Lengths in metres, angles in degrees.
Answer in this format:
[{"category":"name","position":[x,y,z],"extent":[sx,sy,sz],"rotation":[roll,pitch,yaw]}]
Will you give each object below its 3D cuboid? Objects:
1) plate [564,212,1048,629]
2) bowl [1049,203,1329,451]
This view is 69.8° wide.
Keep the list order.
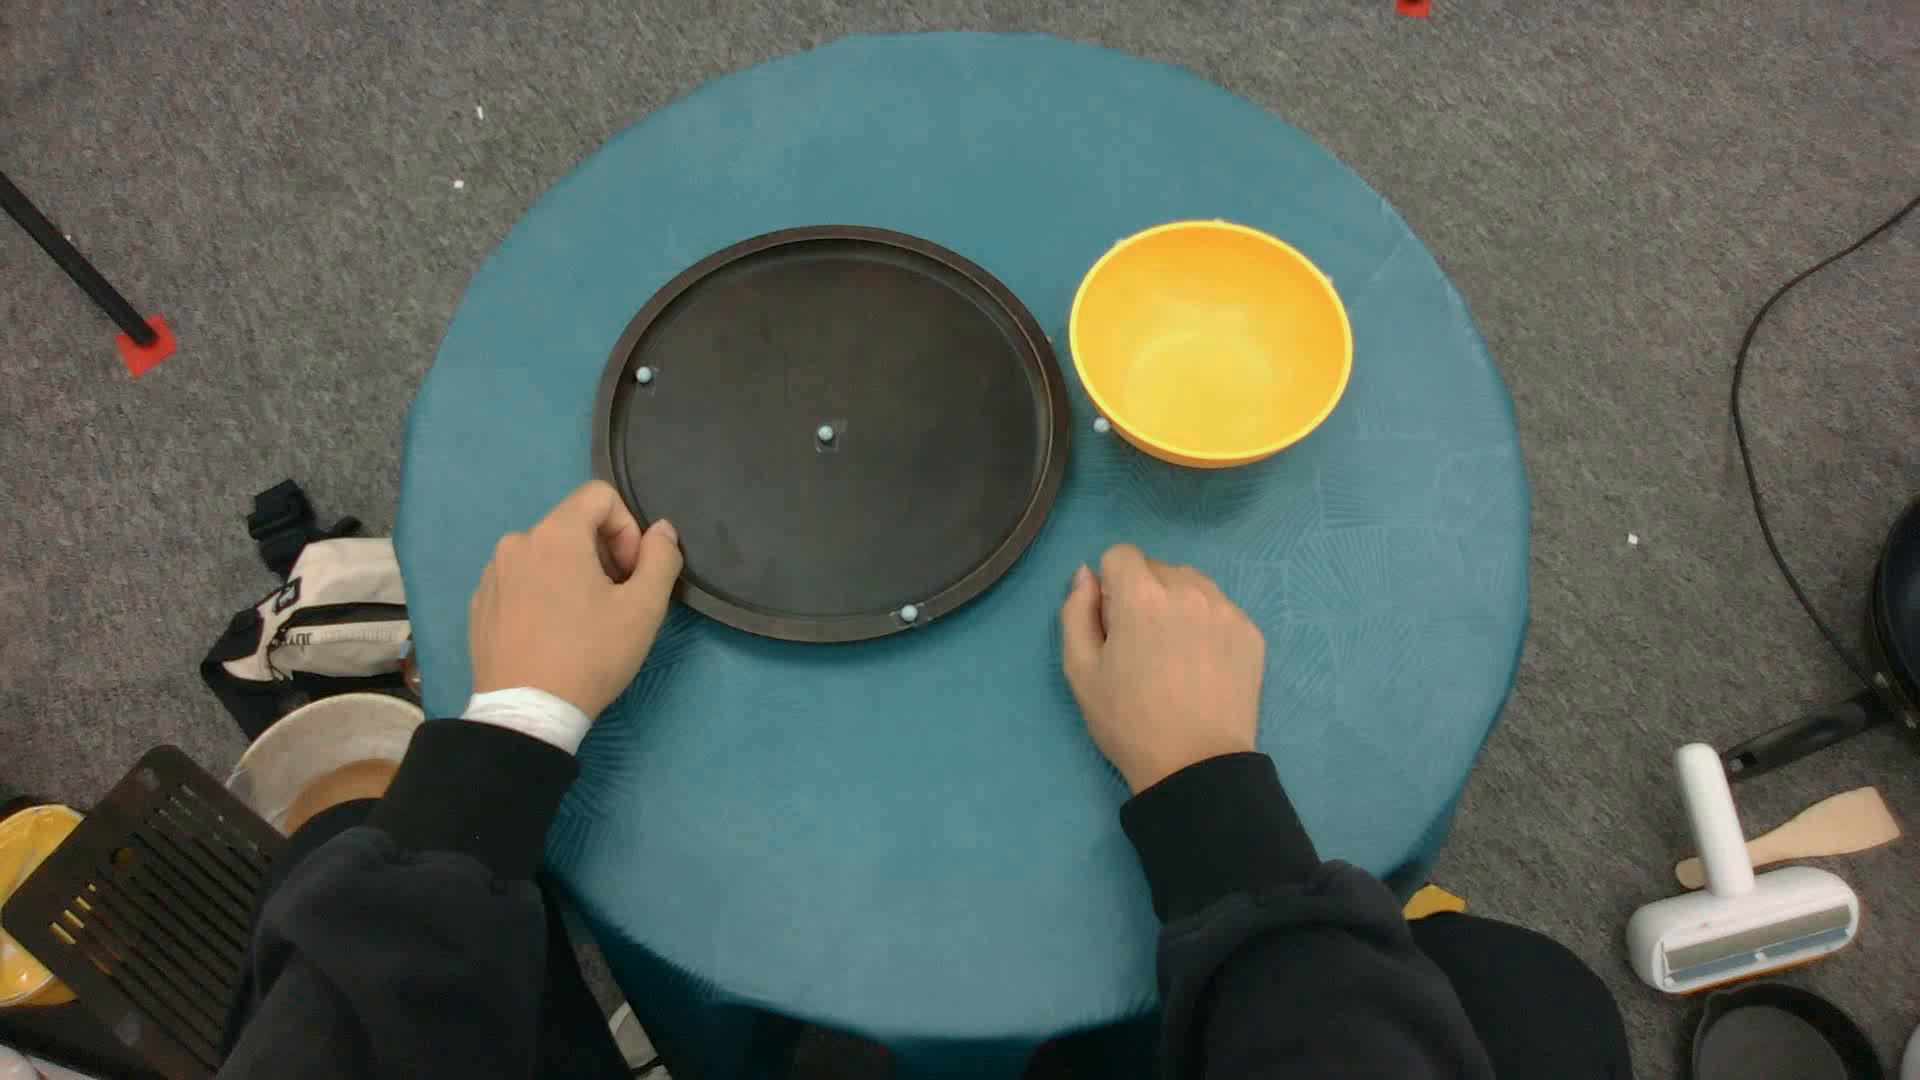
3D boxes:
[{"category":"plate","position":[-0.080,-0.069,0.731],"extent":[0.255,0.029,0.255],"rotation":[2,66,-3]},{"category":"bowl","position":[0.118,-0.104,0.737],"extent":[0.145,0.060,0.146],"rotation":[0,67,0]}]
